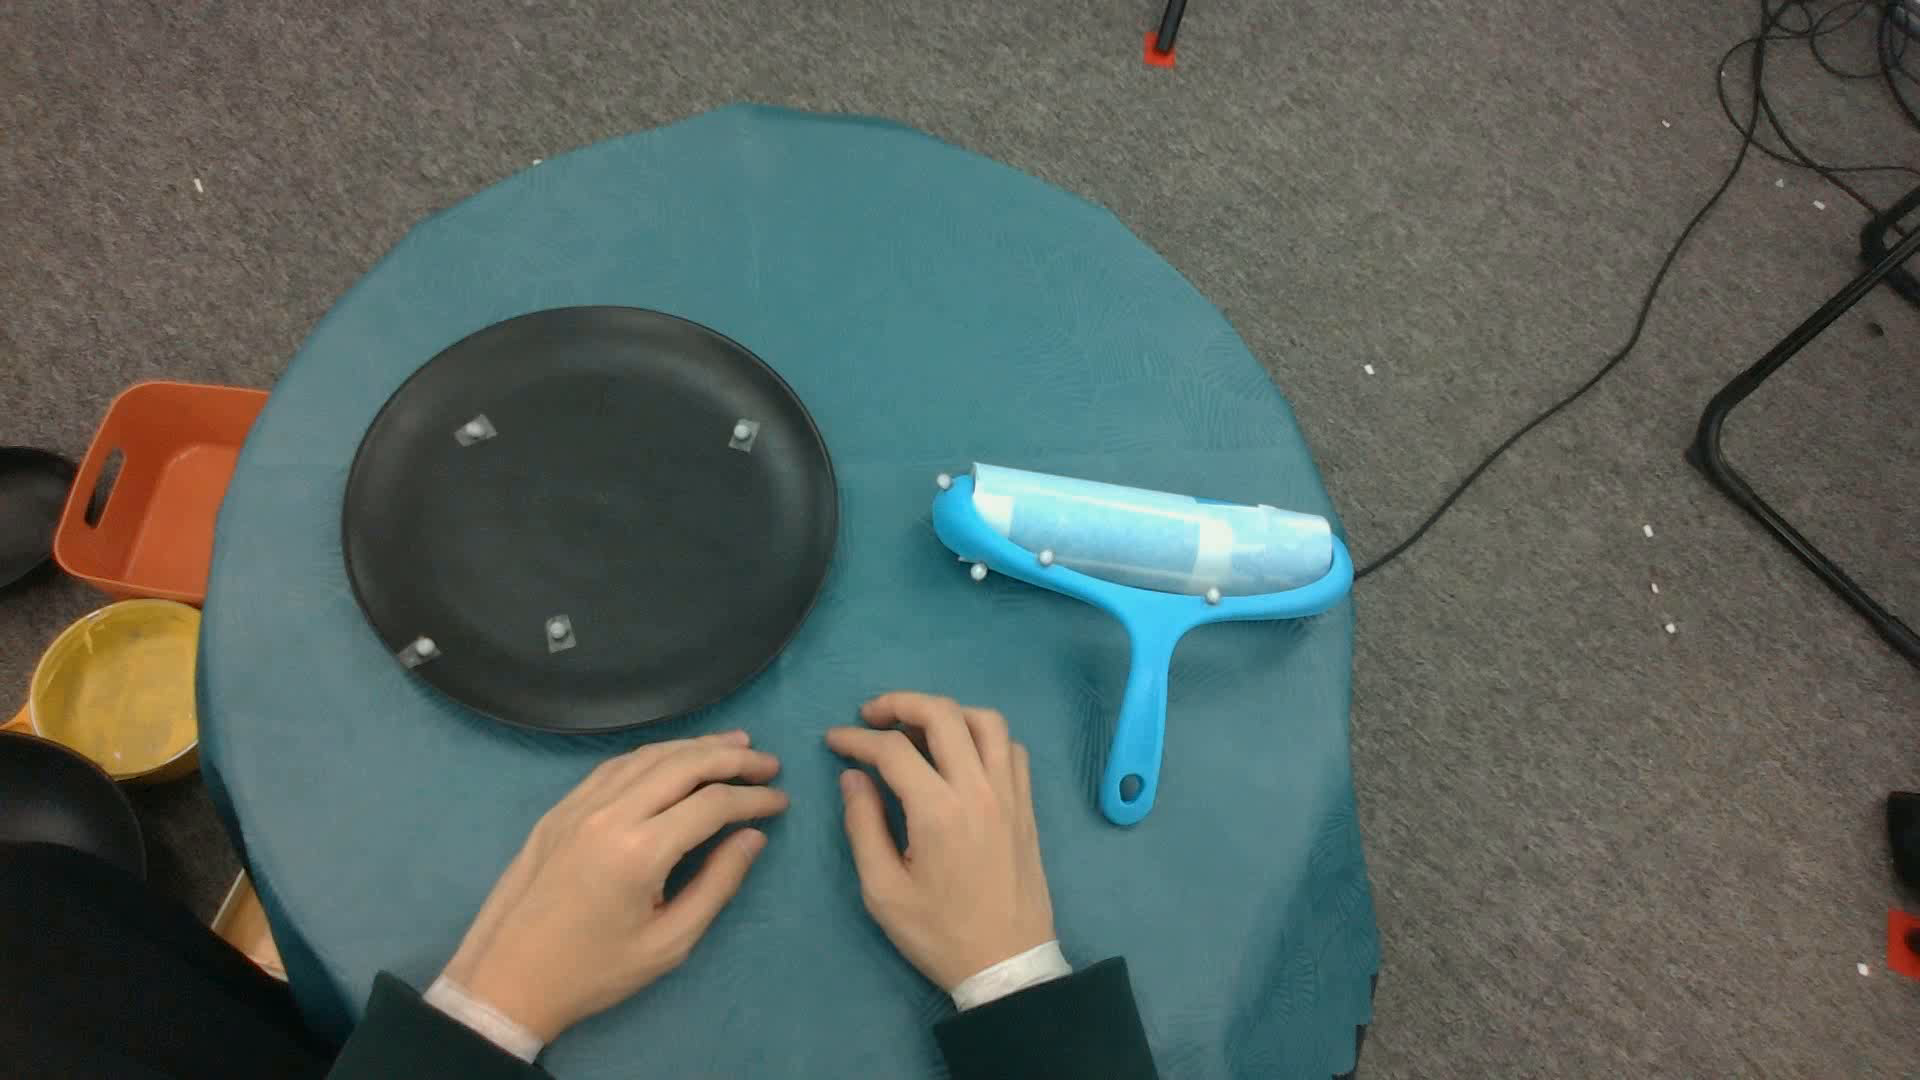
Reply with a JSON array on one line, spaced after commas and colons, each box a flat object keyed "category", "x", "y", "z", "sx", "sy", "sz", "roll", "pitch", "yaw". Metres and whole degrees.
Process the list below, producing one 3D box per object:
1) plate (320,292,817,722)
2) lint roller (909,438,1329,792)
[{"category": "plate", "x": -0.197, "y": -0.021, "z": 0.709, "sx": 0.244, "sy": 0.023, "sz": 0.245, "roll": 4, "pitch": 64, "yaw": -8}, {"category": "lint roller", "x": 0.086, "y": 0.035, "z": 0.714, "sx": 0.229, "sy": 0.067, "sz": 0.181, "roll": 4, "pitch": 64, "yaw": -9}]
